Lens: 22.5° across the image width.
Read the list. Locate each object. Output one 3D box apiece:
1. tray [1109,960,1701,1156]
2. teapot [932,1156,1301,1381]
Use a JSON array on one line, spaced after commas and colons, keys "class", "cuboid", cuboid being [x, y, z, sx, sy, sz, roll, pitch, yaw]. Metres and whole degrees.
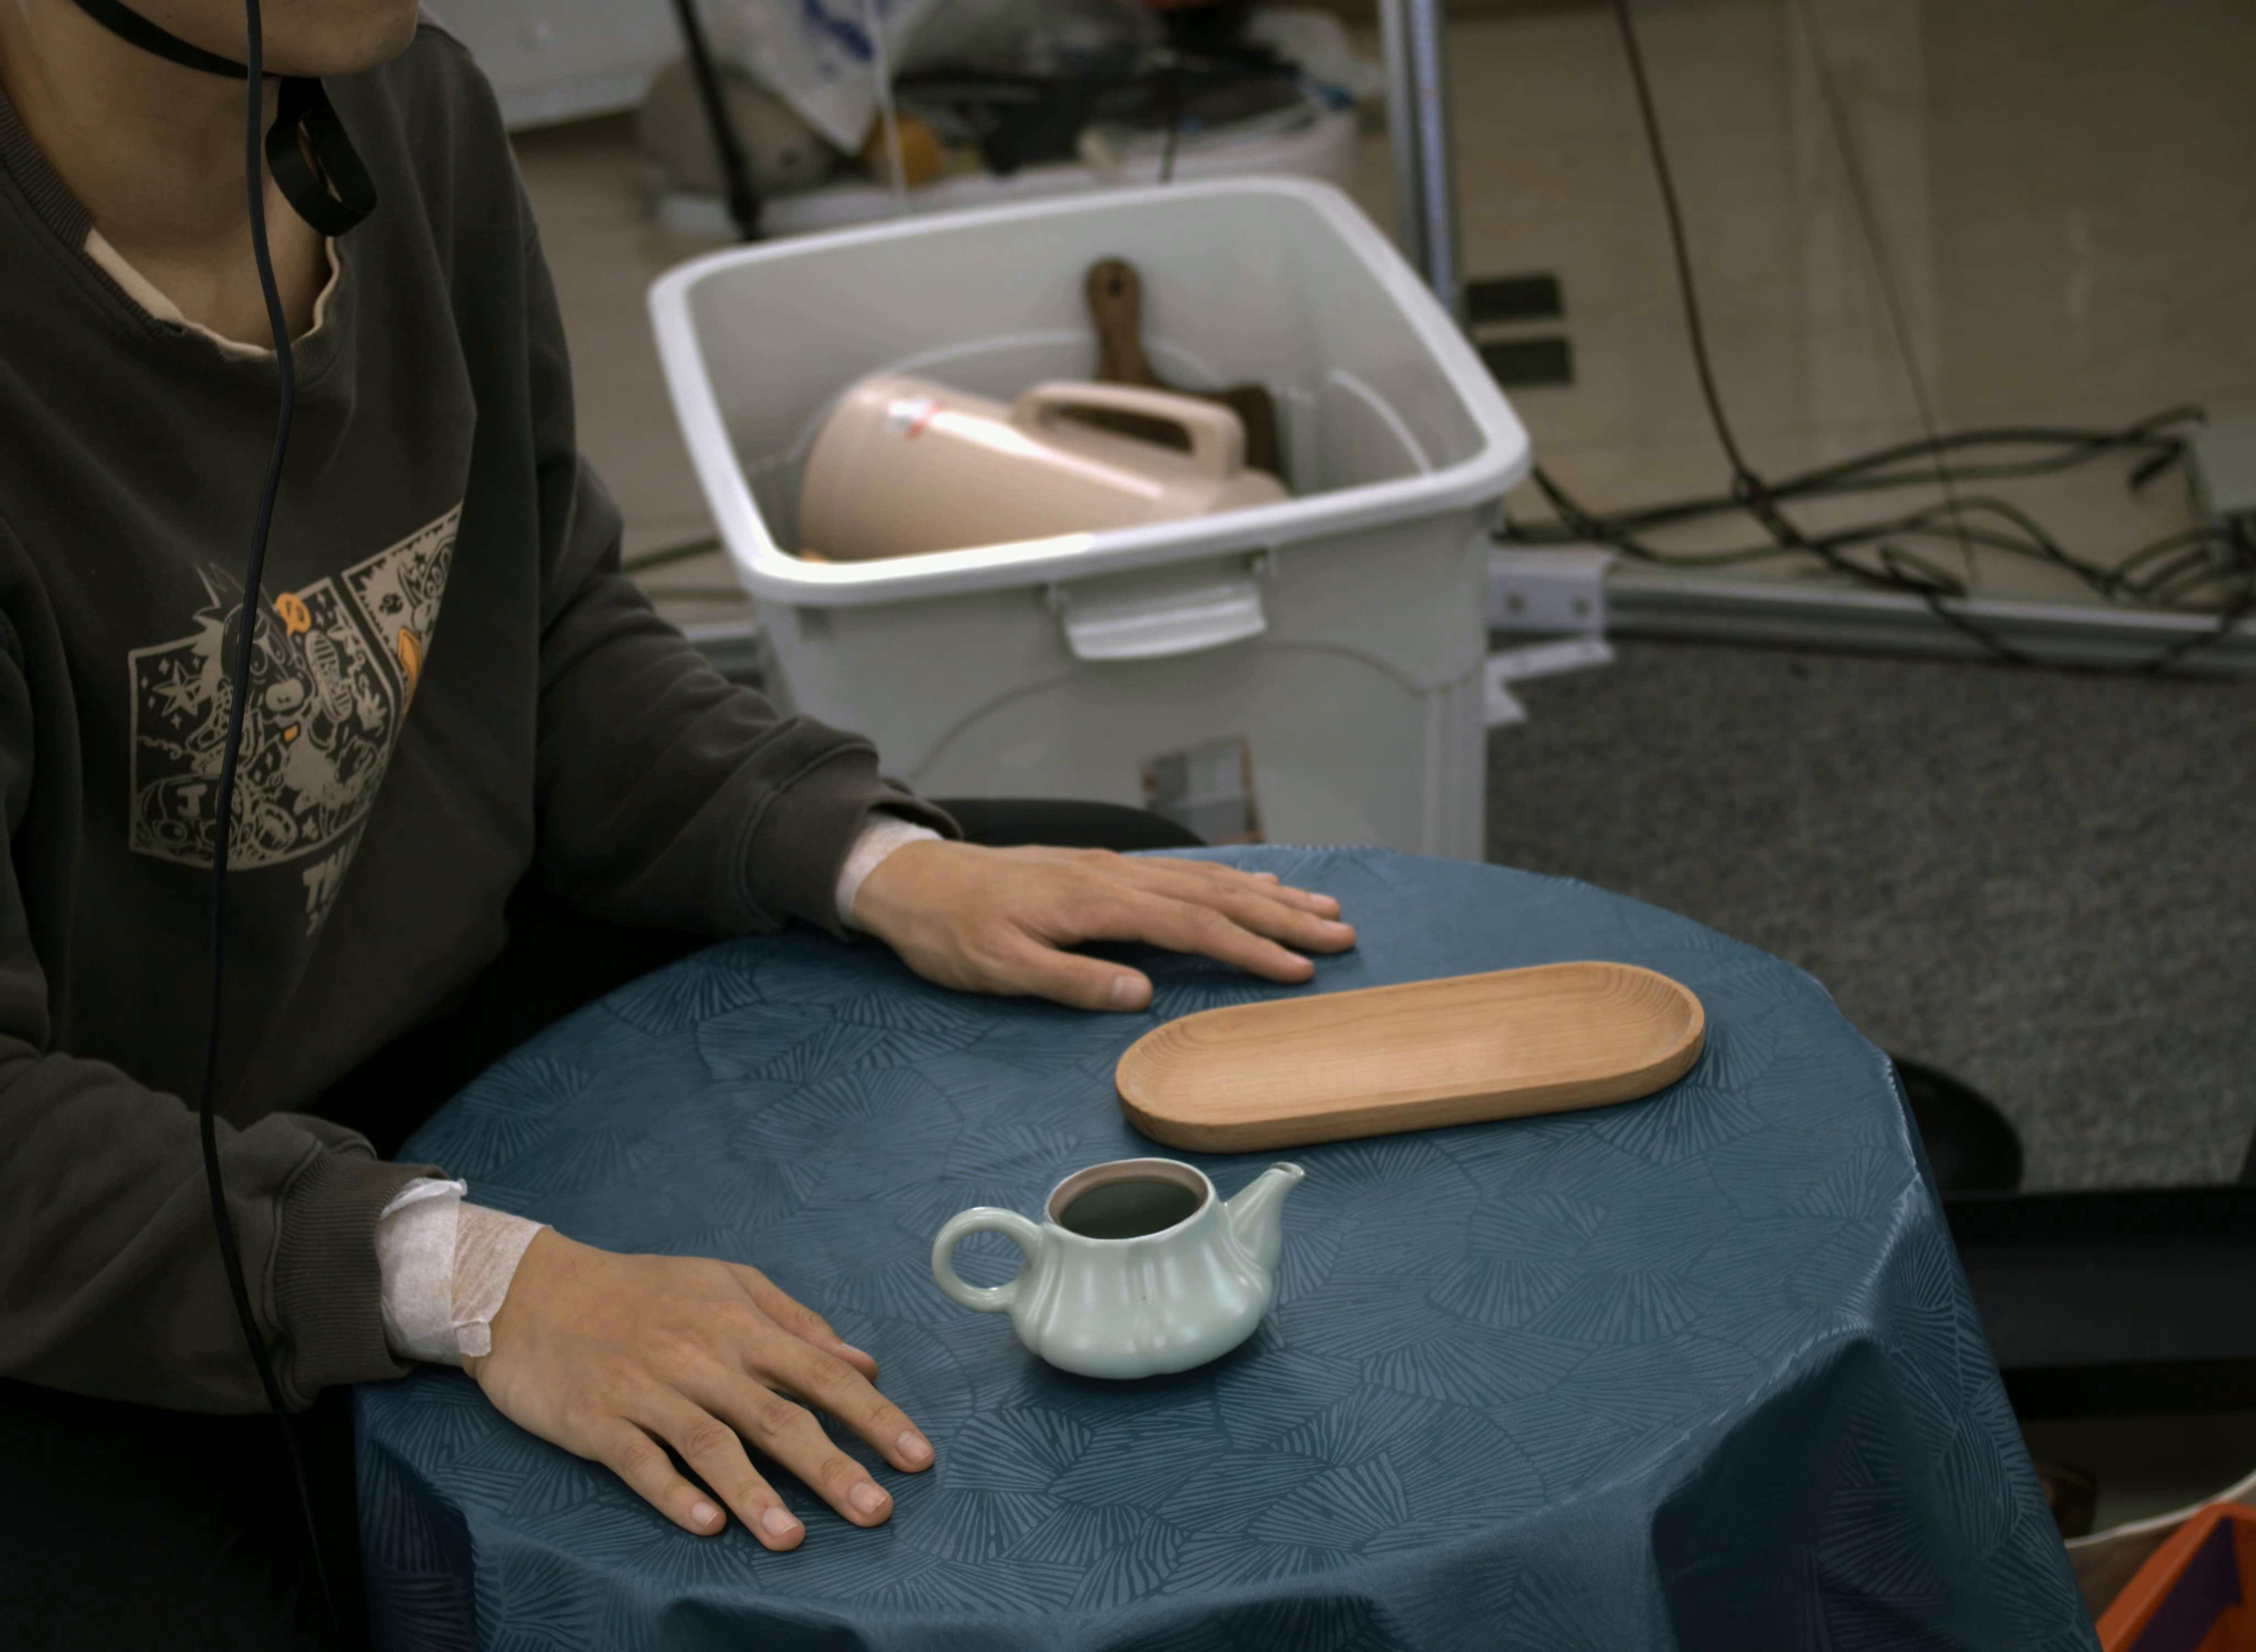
[{"class": "tray", "cuboid": [0.108, 0.091, 2.203, 0.231, 0.020, 0.100, -9, 25, -2]}, {"class": "teapot", "cuboid": [-0.002, 0.158, 2.035, 0.136, 0.062, 0.095, -10, 27, -7]}]
